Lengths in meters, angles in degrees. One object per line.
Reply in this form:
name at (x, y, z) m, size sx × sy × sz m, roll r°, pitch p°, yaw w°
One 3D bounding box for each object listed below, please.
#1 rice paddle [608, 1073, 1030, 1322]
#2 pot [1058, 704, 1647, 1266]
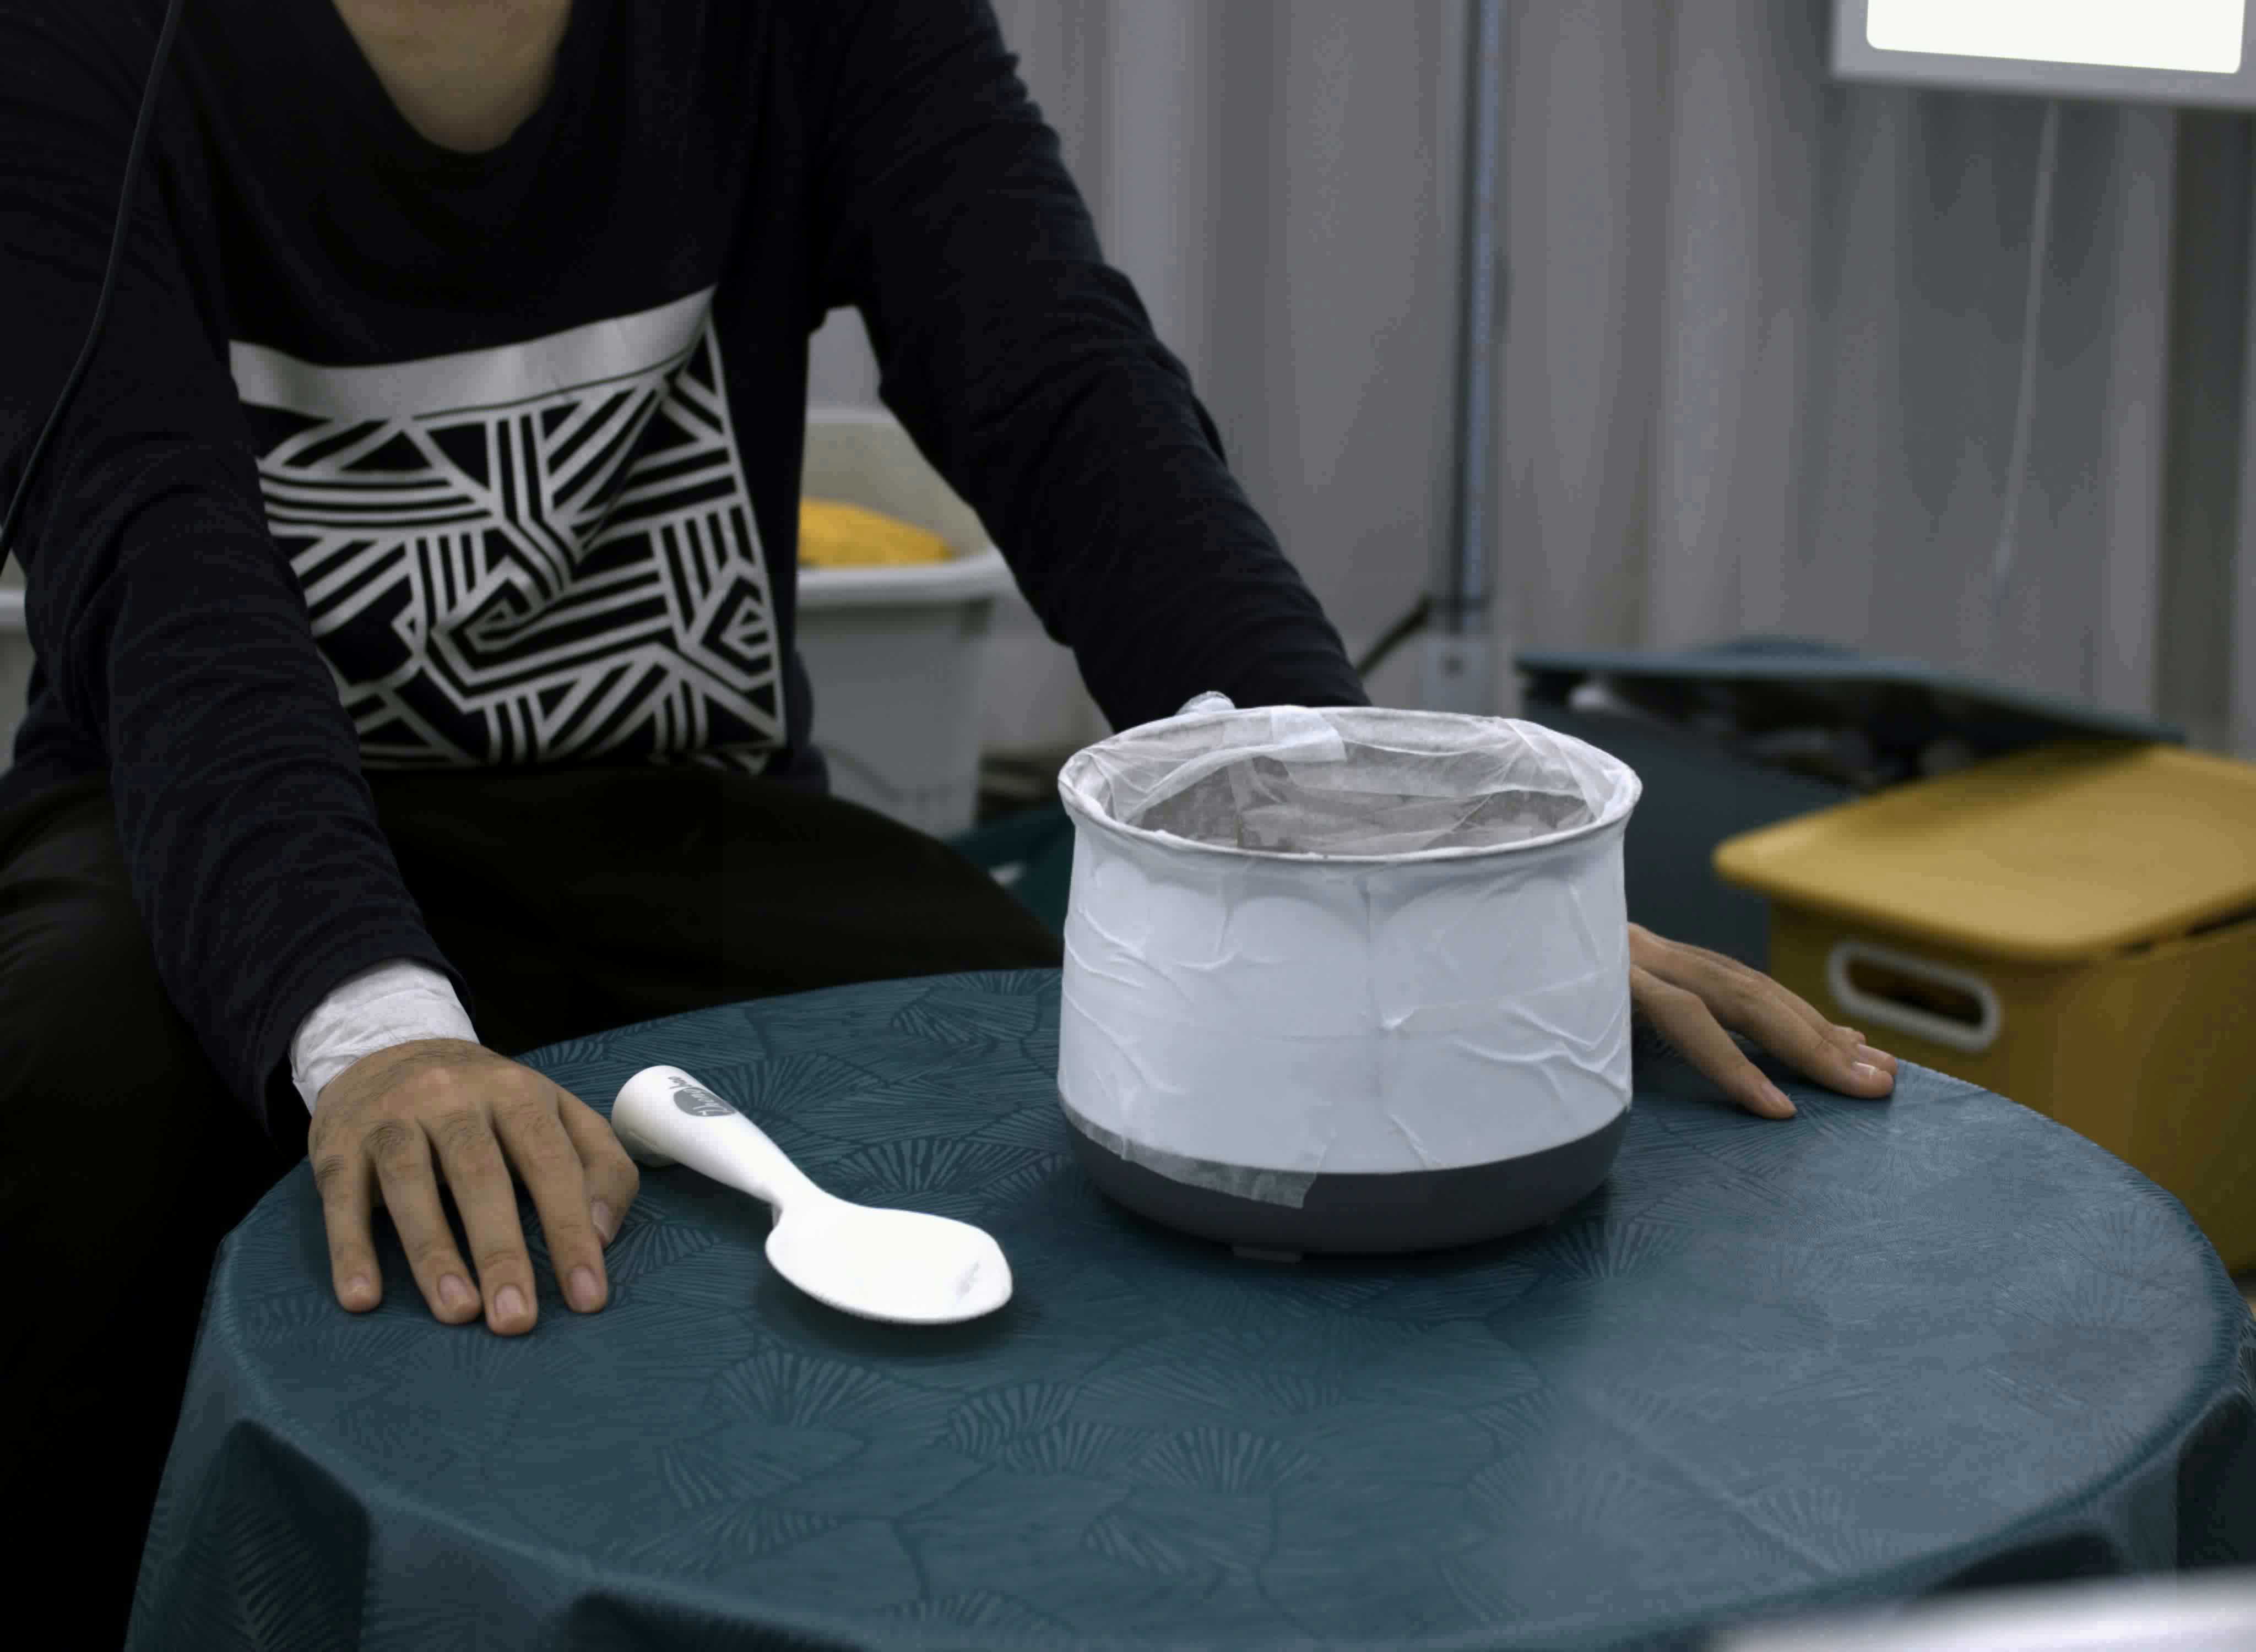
rice paddle at (-0.096, 0.112, 1.568) m, size 0.069 × 0.029 × 0.202 m, roll -11°, pitch 18°, yaw -30°
pot at (0.056, 0.043, 1.634) m, size 0.179 × 0.137 × 0.231 m, roll -5°, pitch 15°, yaw -25°
